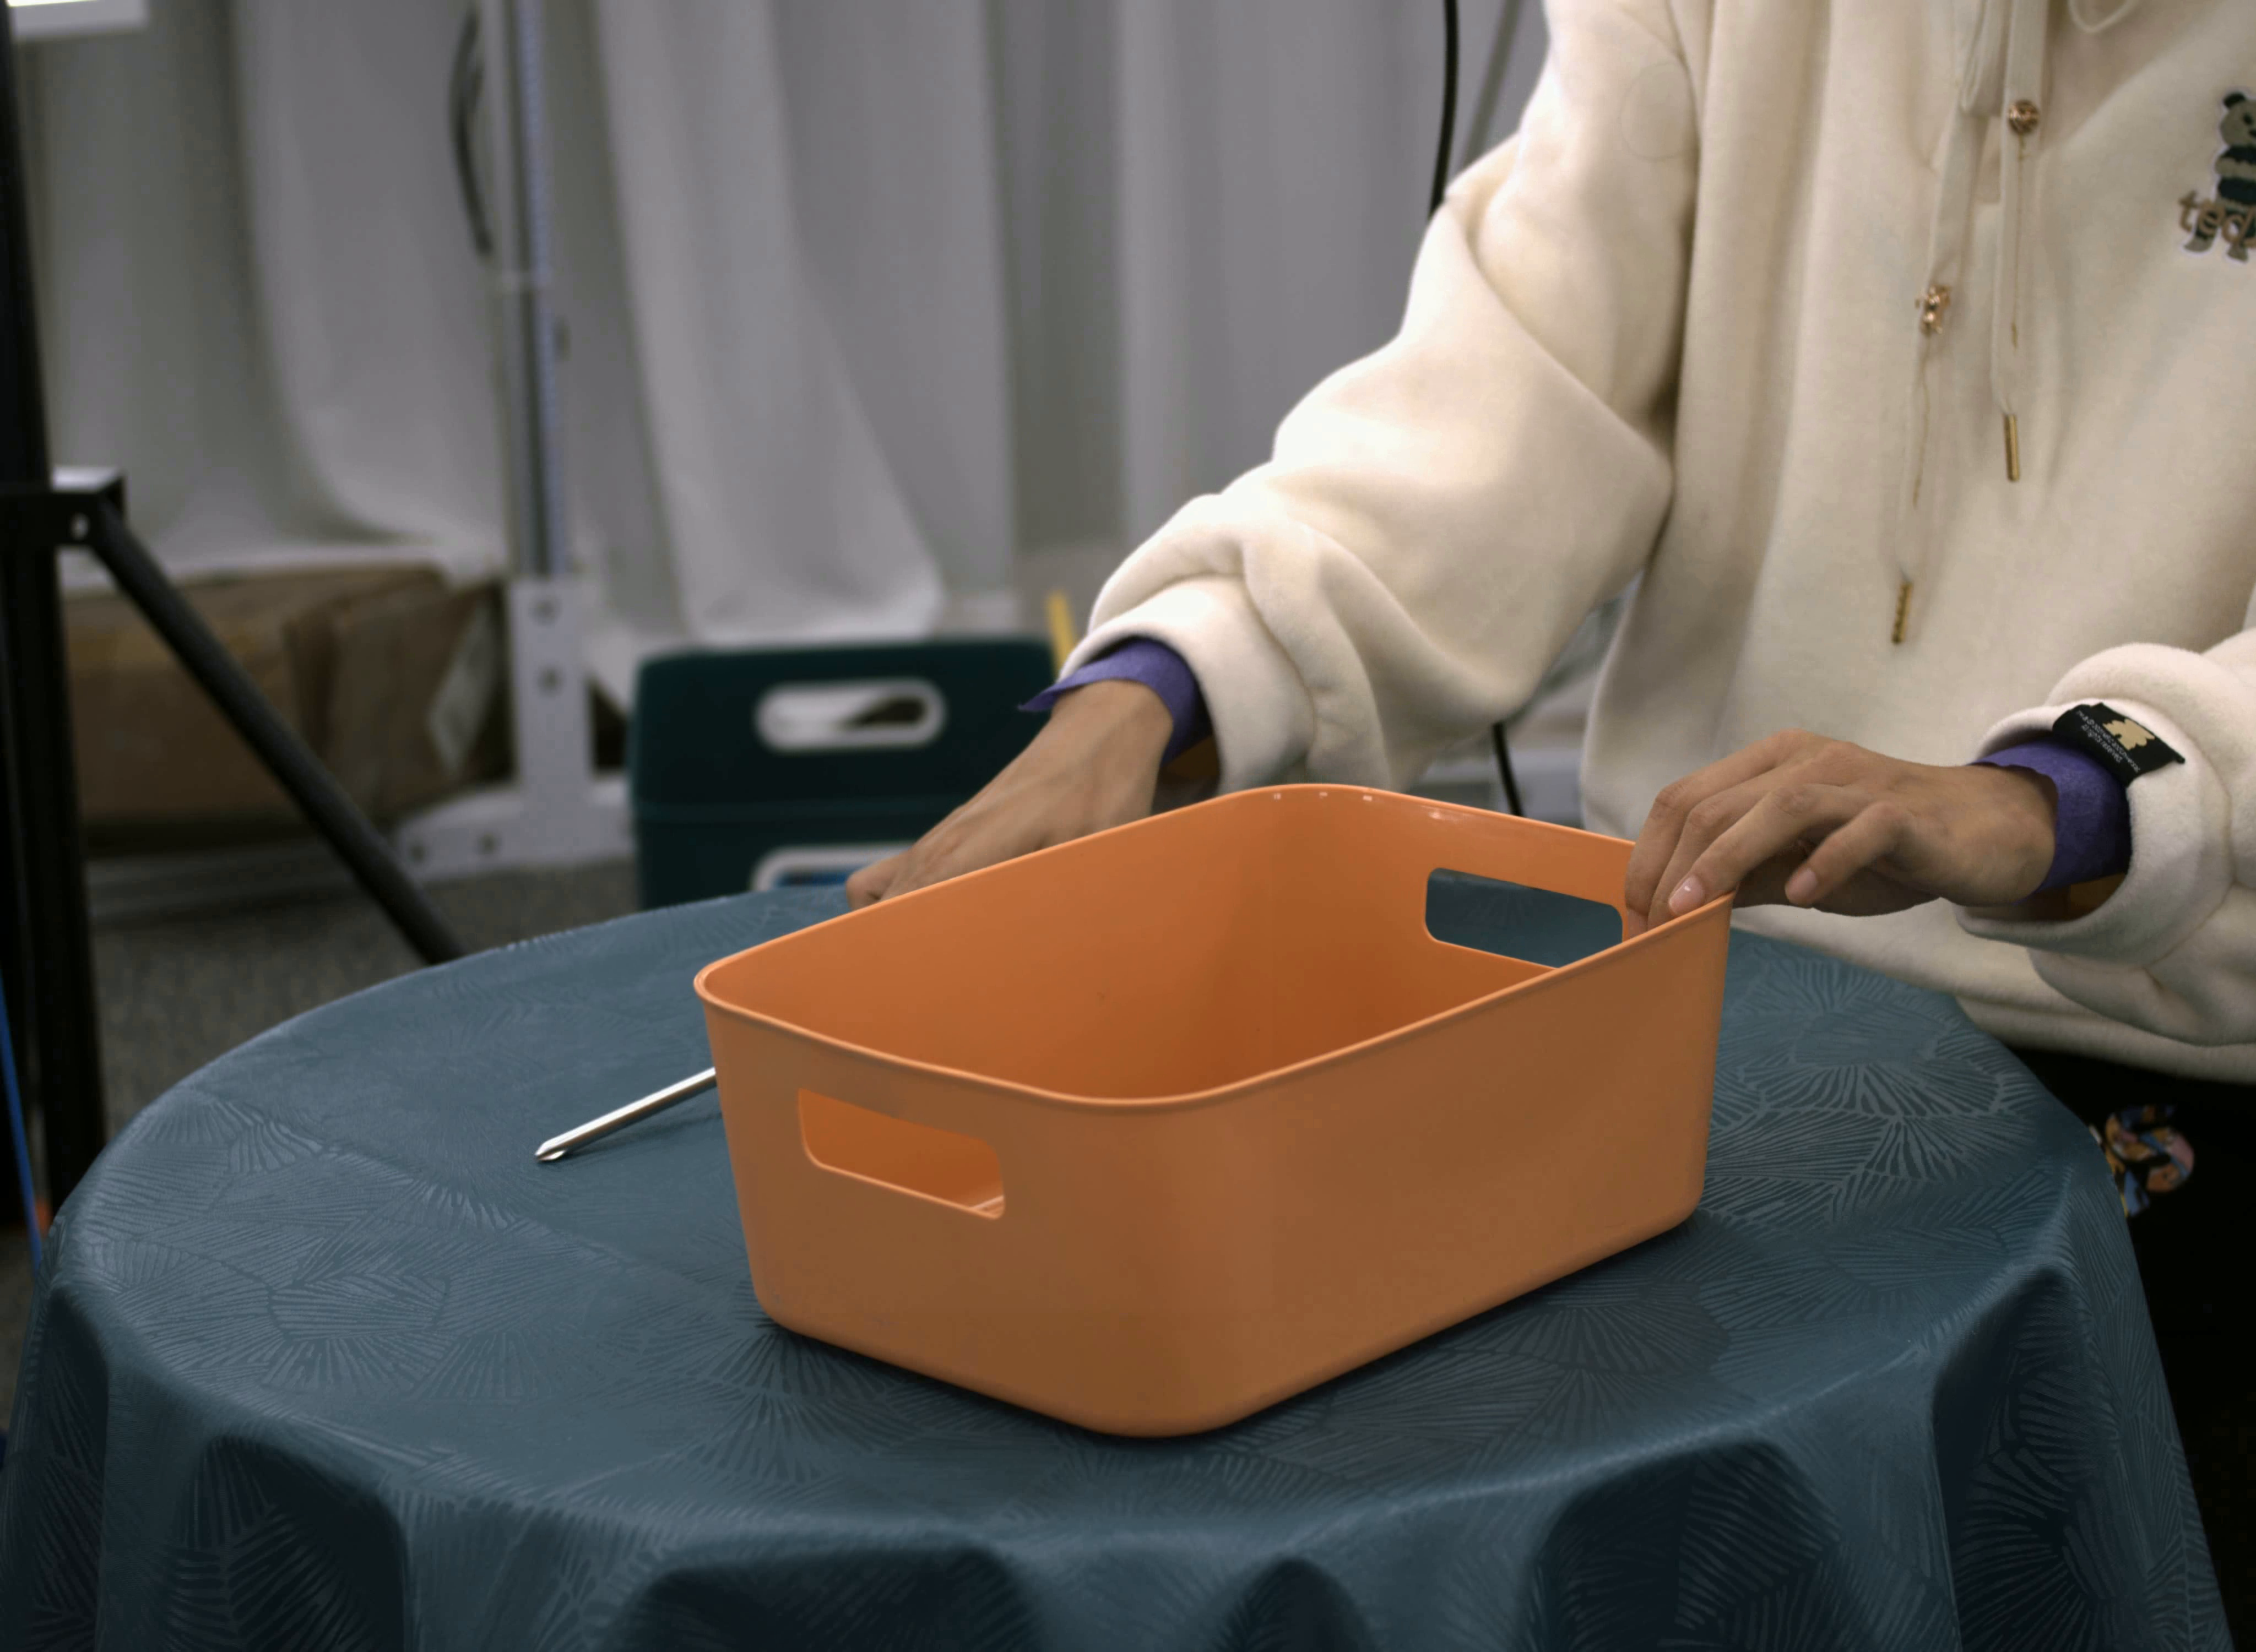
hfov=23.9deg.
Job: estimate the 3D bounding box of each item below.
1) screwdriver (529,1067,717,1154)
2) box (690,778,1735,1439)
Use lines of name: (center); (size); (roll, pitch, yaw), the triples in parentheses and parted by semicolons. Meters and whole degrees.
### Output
screwdriver: (-0.108, 0.072, 1.666); (0.192, 0.031, 0.032); (-21, 24, -33)
box: (0.030, 0.075, 1.477); (0.204, 0.102, 0.267); (12, 21, 43)
